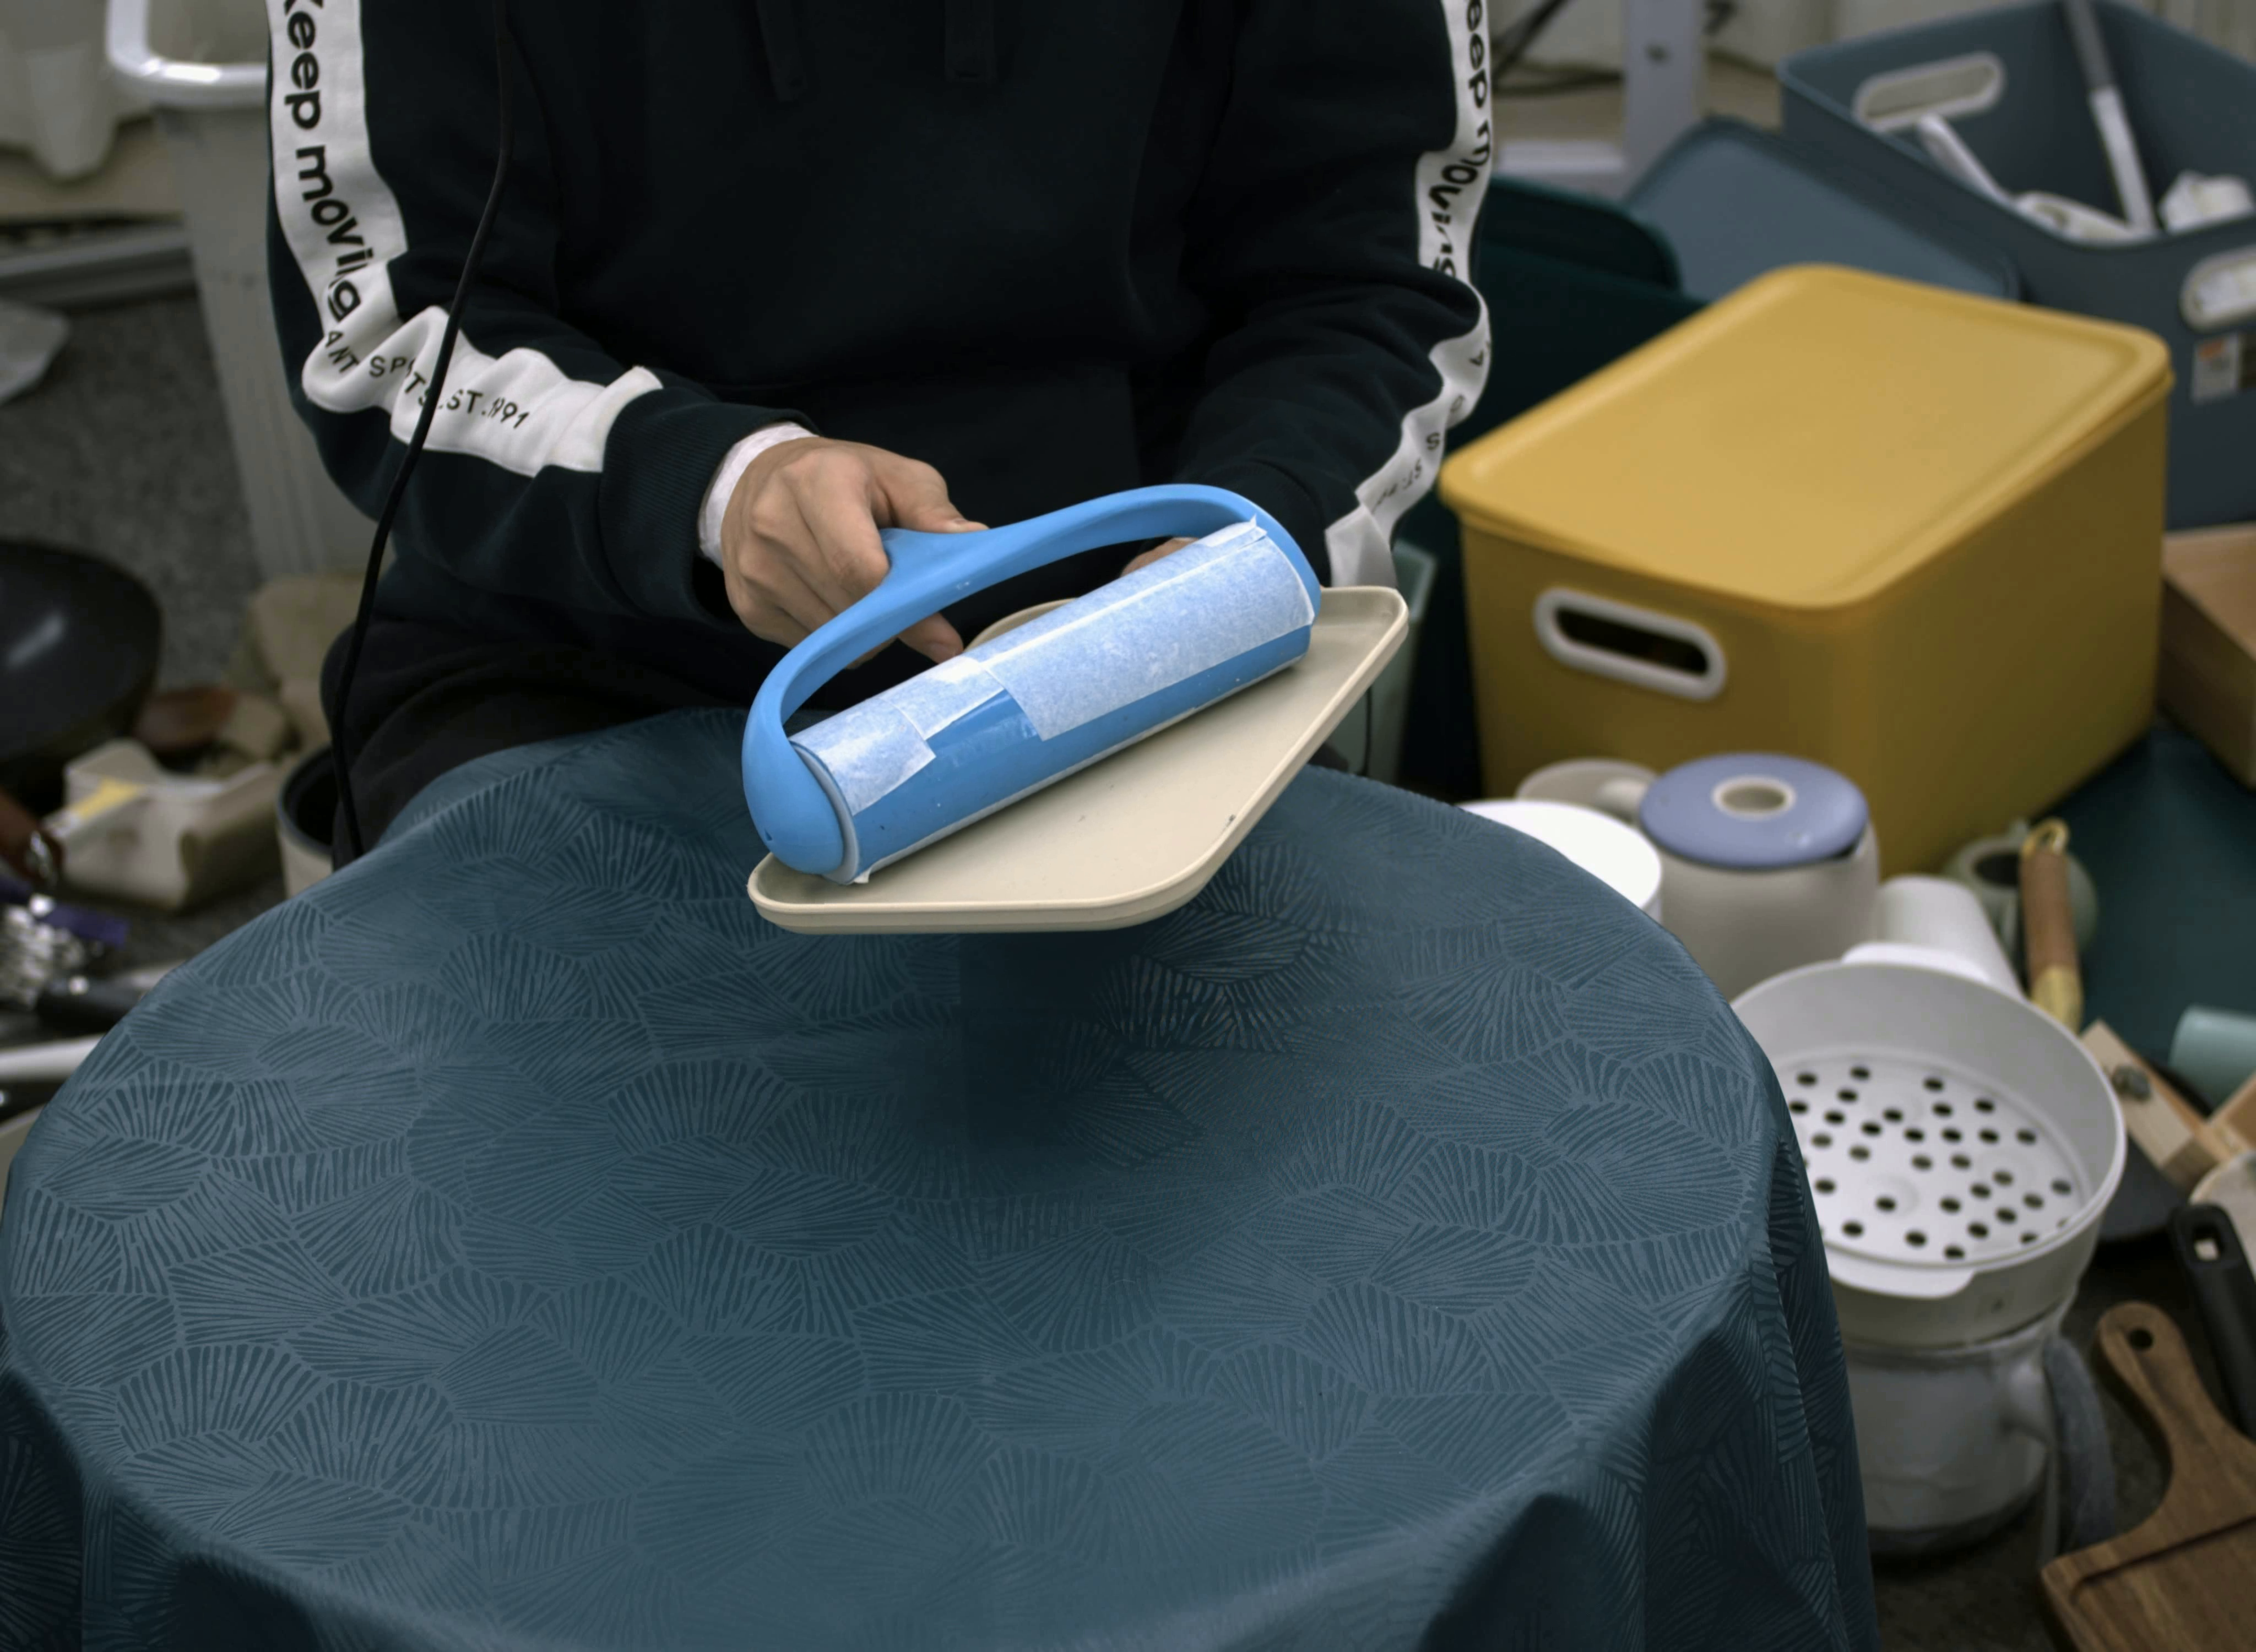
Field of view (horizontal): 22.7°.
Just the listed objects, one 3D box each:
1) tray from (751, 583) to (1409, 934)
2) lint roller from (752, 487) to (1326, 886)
[{"bbox_3d":[-0.012,-0.023,1.918,0.169,0.017,0.244,-2,26,27],"label":"tray"},{"bbox_3d":[-0.064,-0.067,1.958,0.231,0.067,0.180,-29,40,-29],"label":"lint roller"}]
